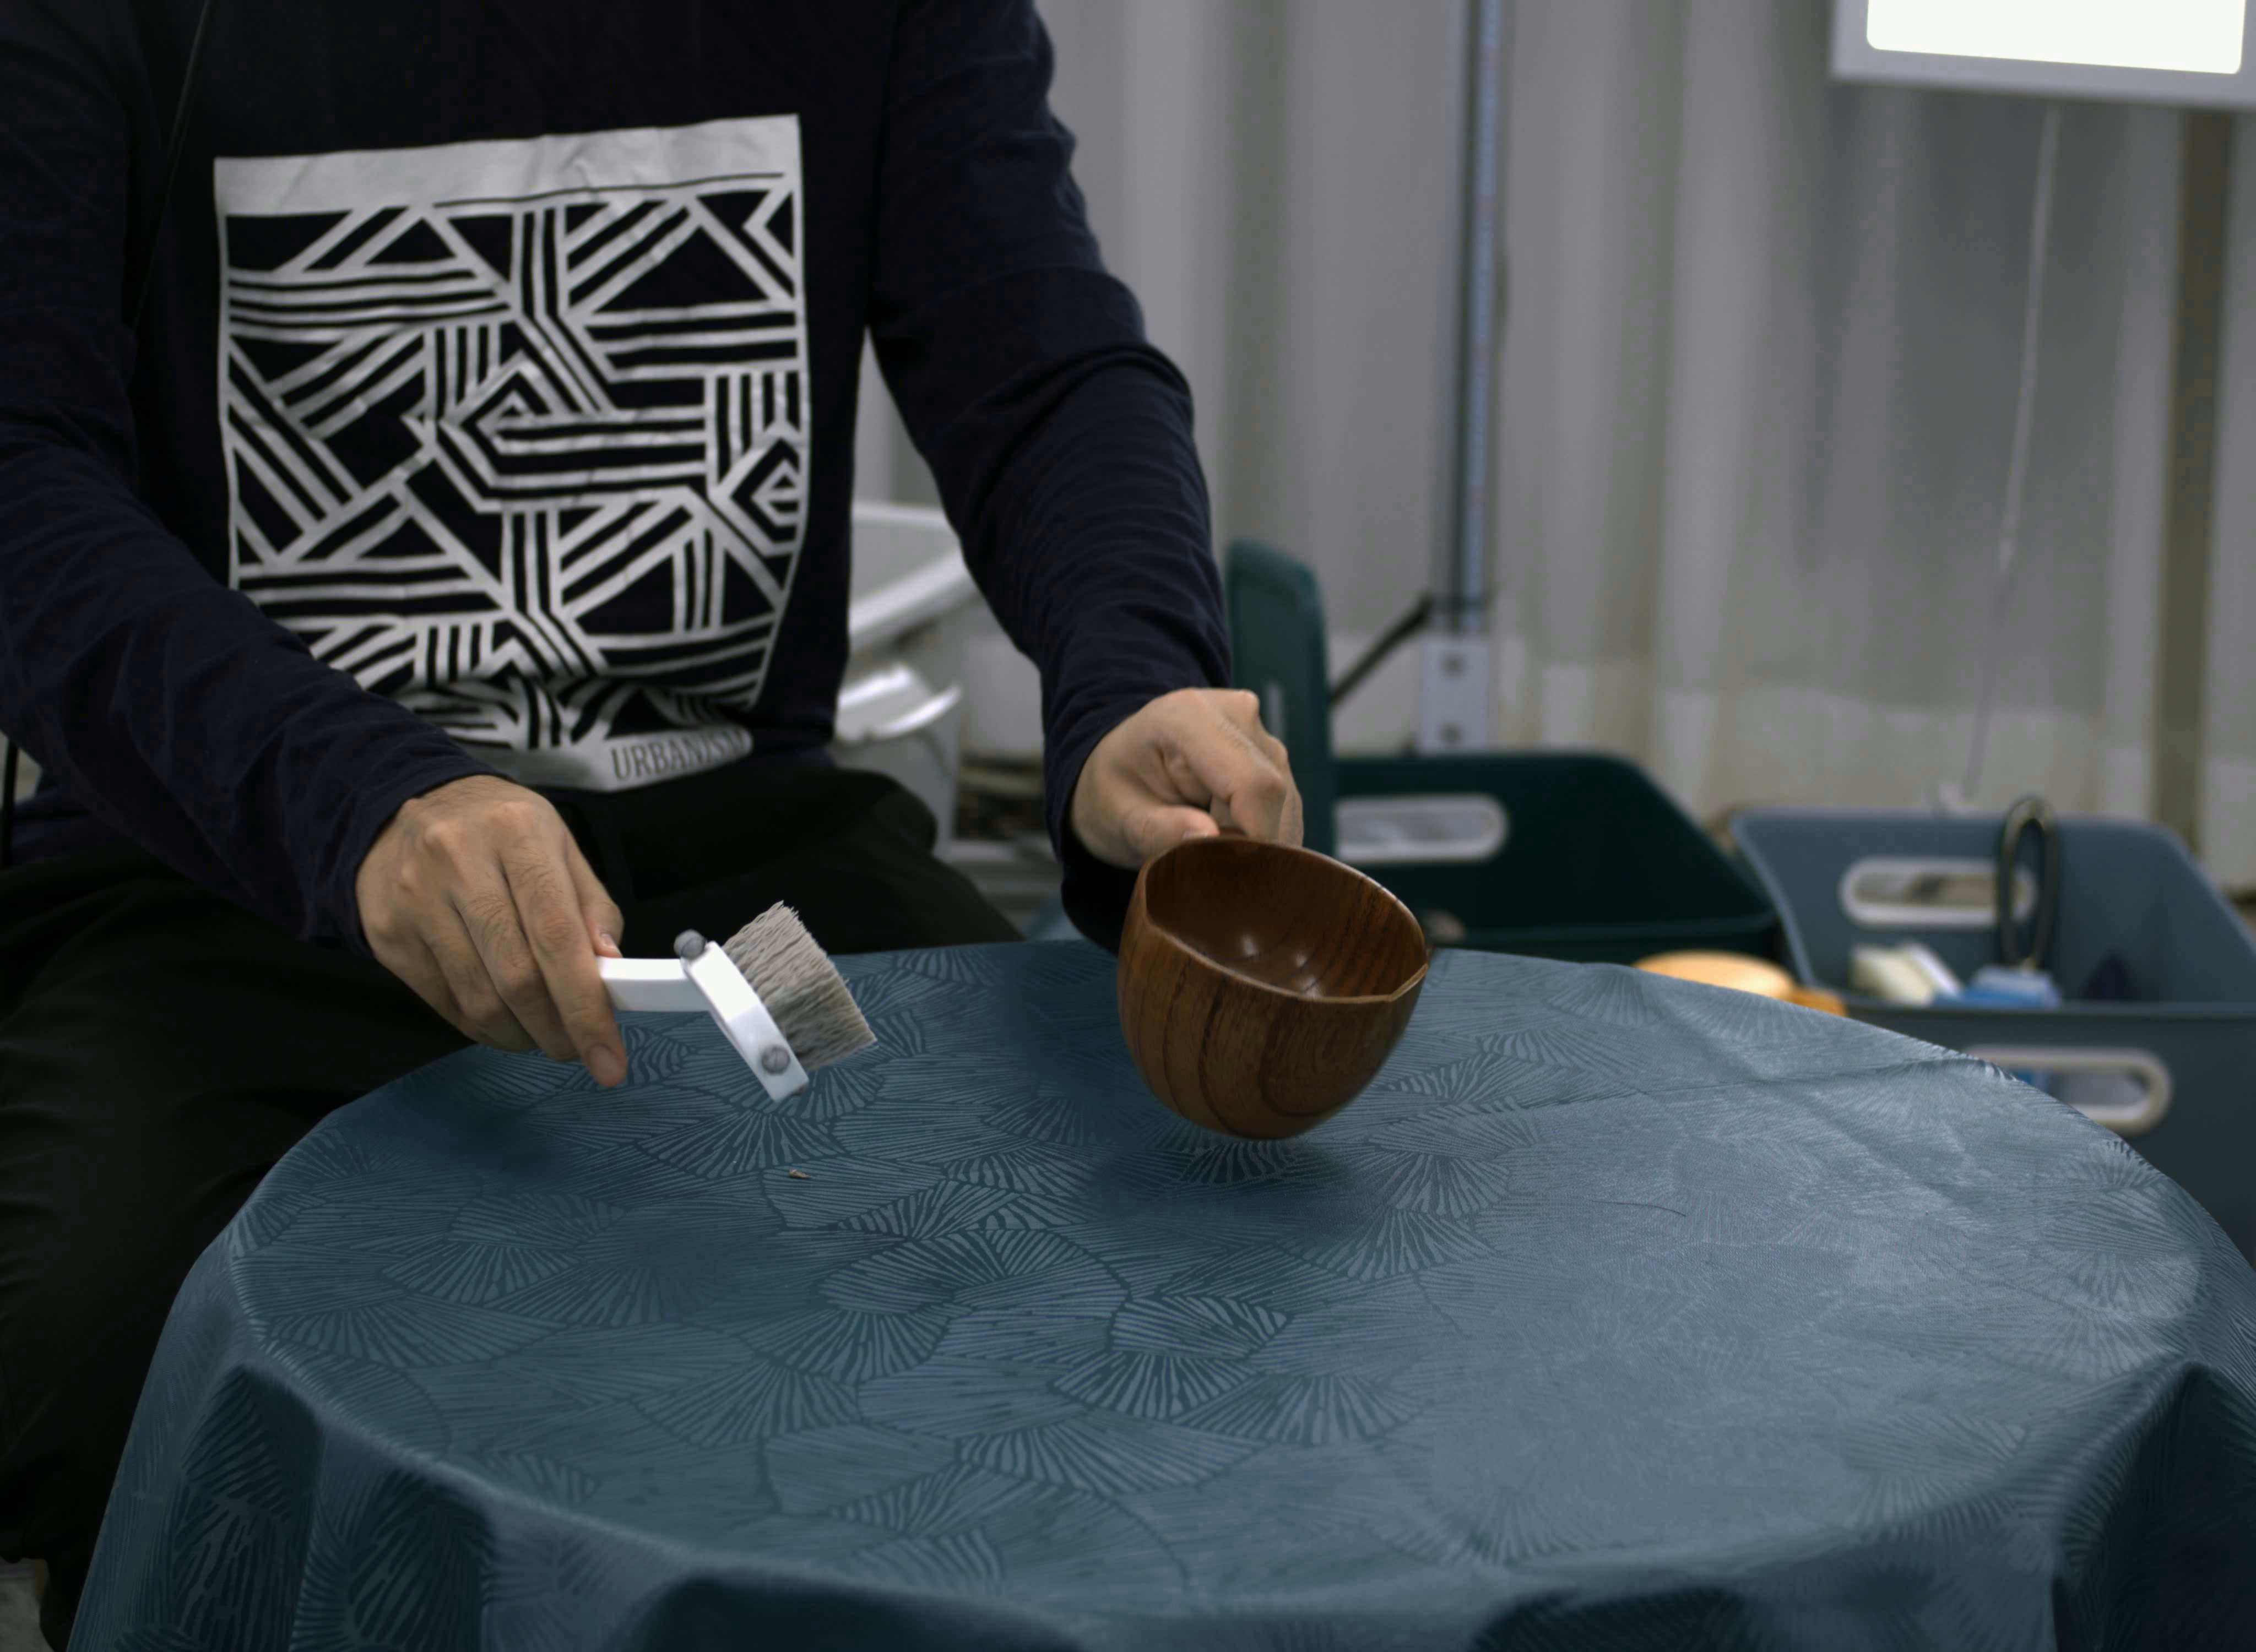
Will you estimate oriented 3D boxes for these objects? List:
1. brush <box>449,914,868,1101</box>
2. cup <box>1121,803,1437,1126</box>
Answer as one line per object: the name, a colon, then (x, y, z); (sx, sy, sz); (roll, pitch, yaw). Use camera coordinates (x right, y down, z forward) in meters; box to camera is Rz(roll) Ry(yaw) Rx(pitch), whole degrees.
brush: (-0.146, 0.047, 1.629); (0.050, 0.035, 0.241); (-43, 22, -20)
cup: (0.039, 0.043, 1.652); (0.096, 0.068, 0.118); (5, 34, -21)
